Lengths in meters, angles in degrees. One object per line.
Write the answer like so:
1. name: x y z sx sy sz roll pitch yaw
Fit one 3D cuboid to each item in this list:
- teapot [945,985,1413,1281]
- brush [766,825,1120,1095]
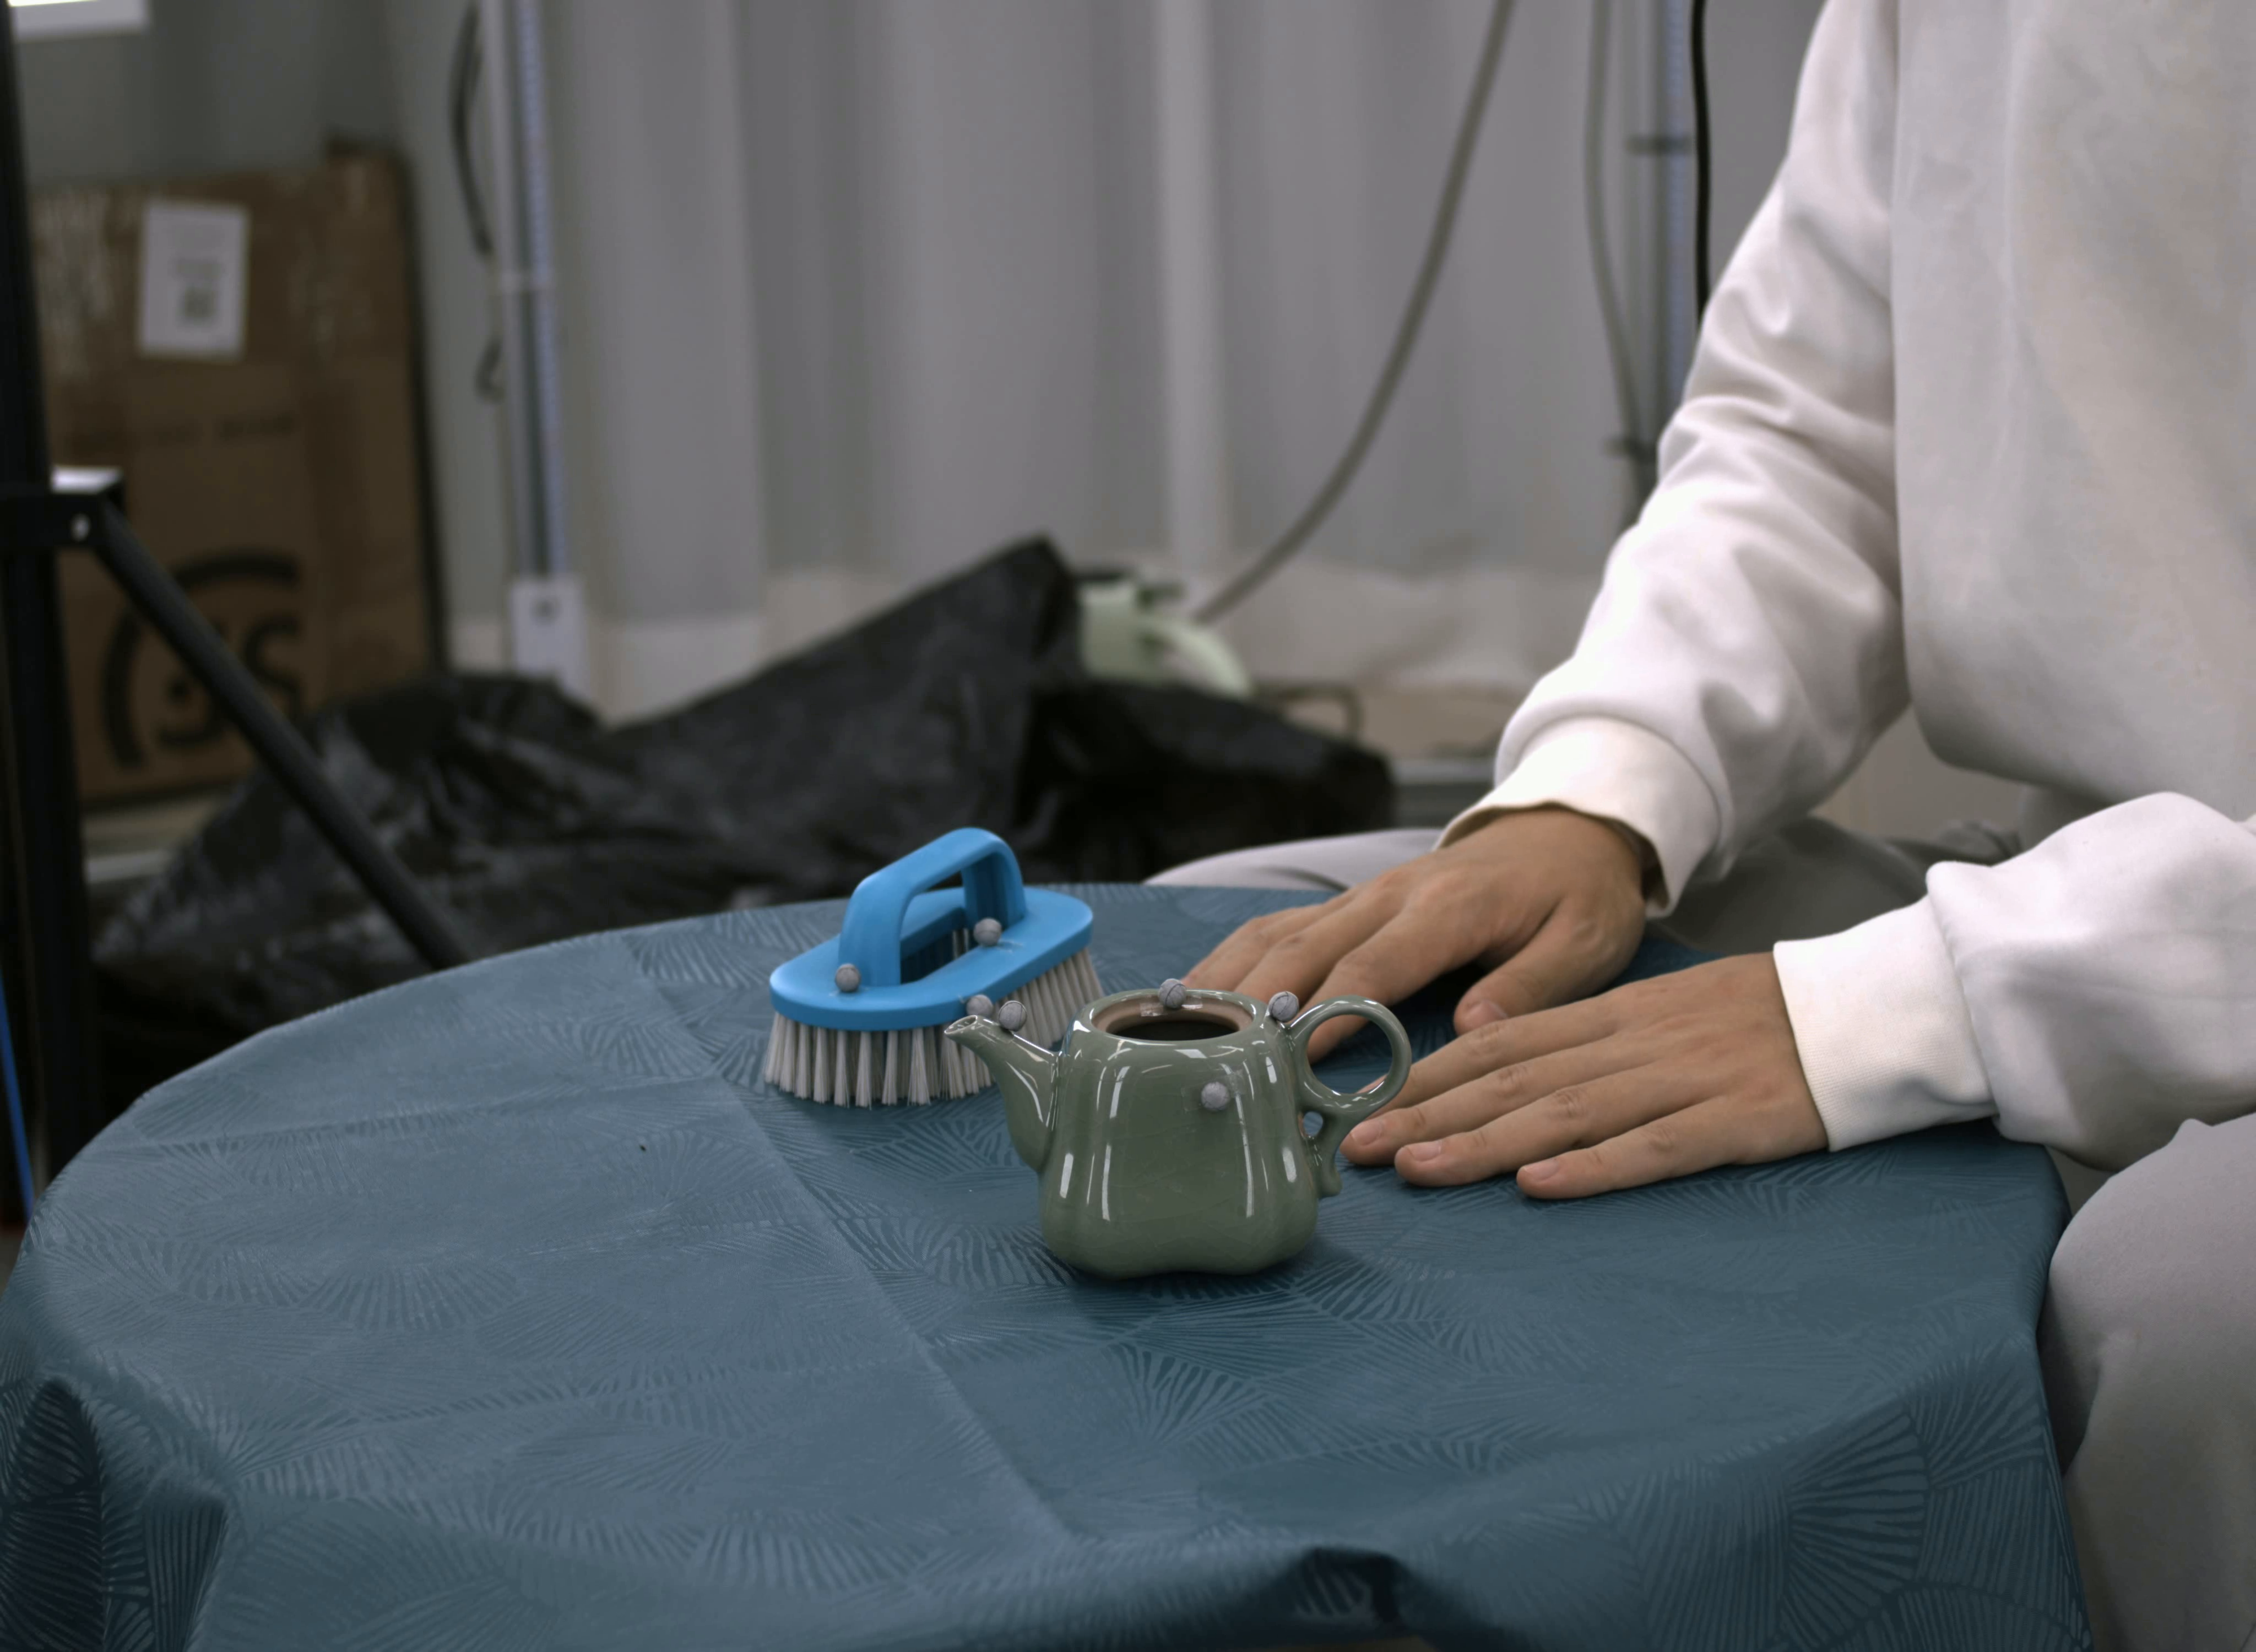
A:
1. teapot: 0.015 0.085 1.503 0.132 0.075 0.080 -2 16 1
2. brush: -0.061 0.037 1.700 0.086 0.064 0.139 1 14 30
